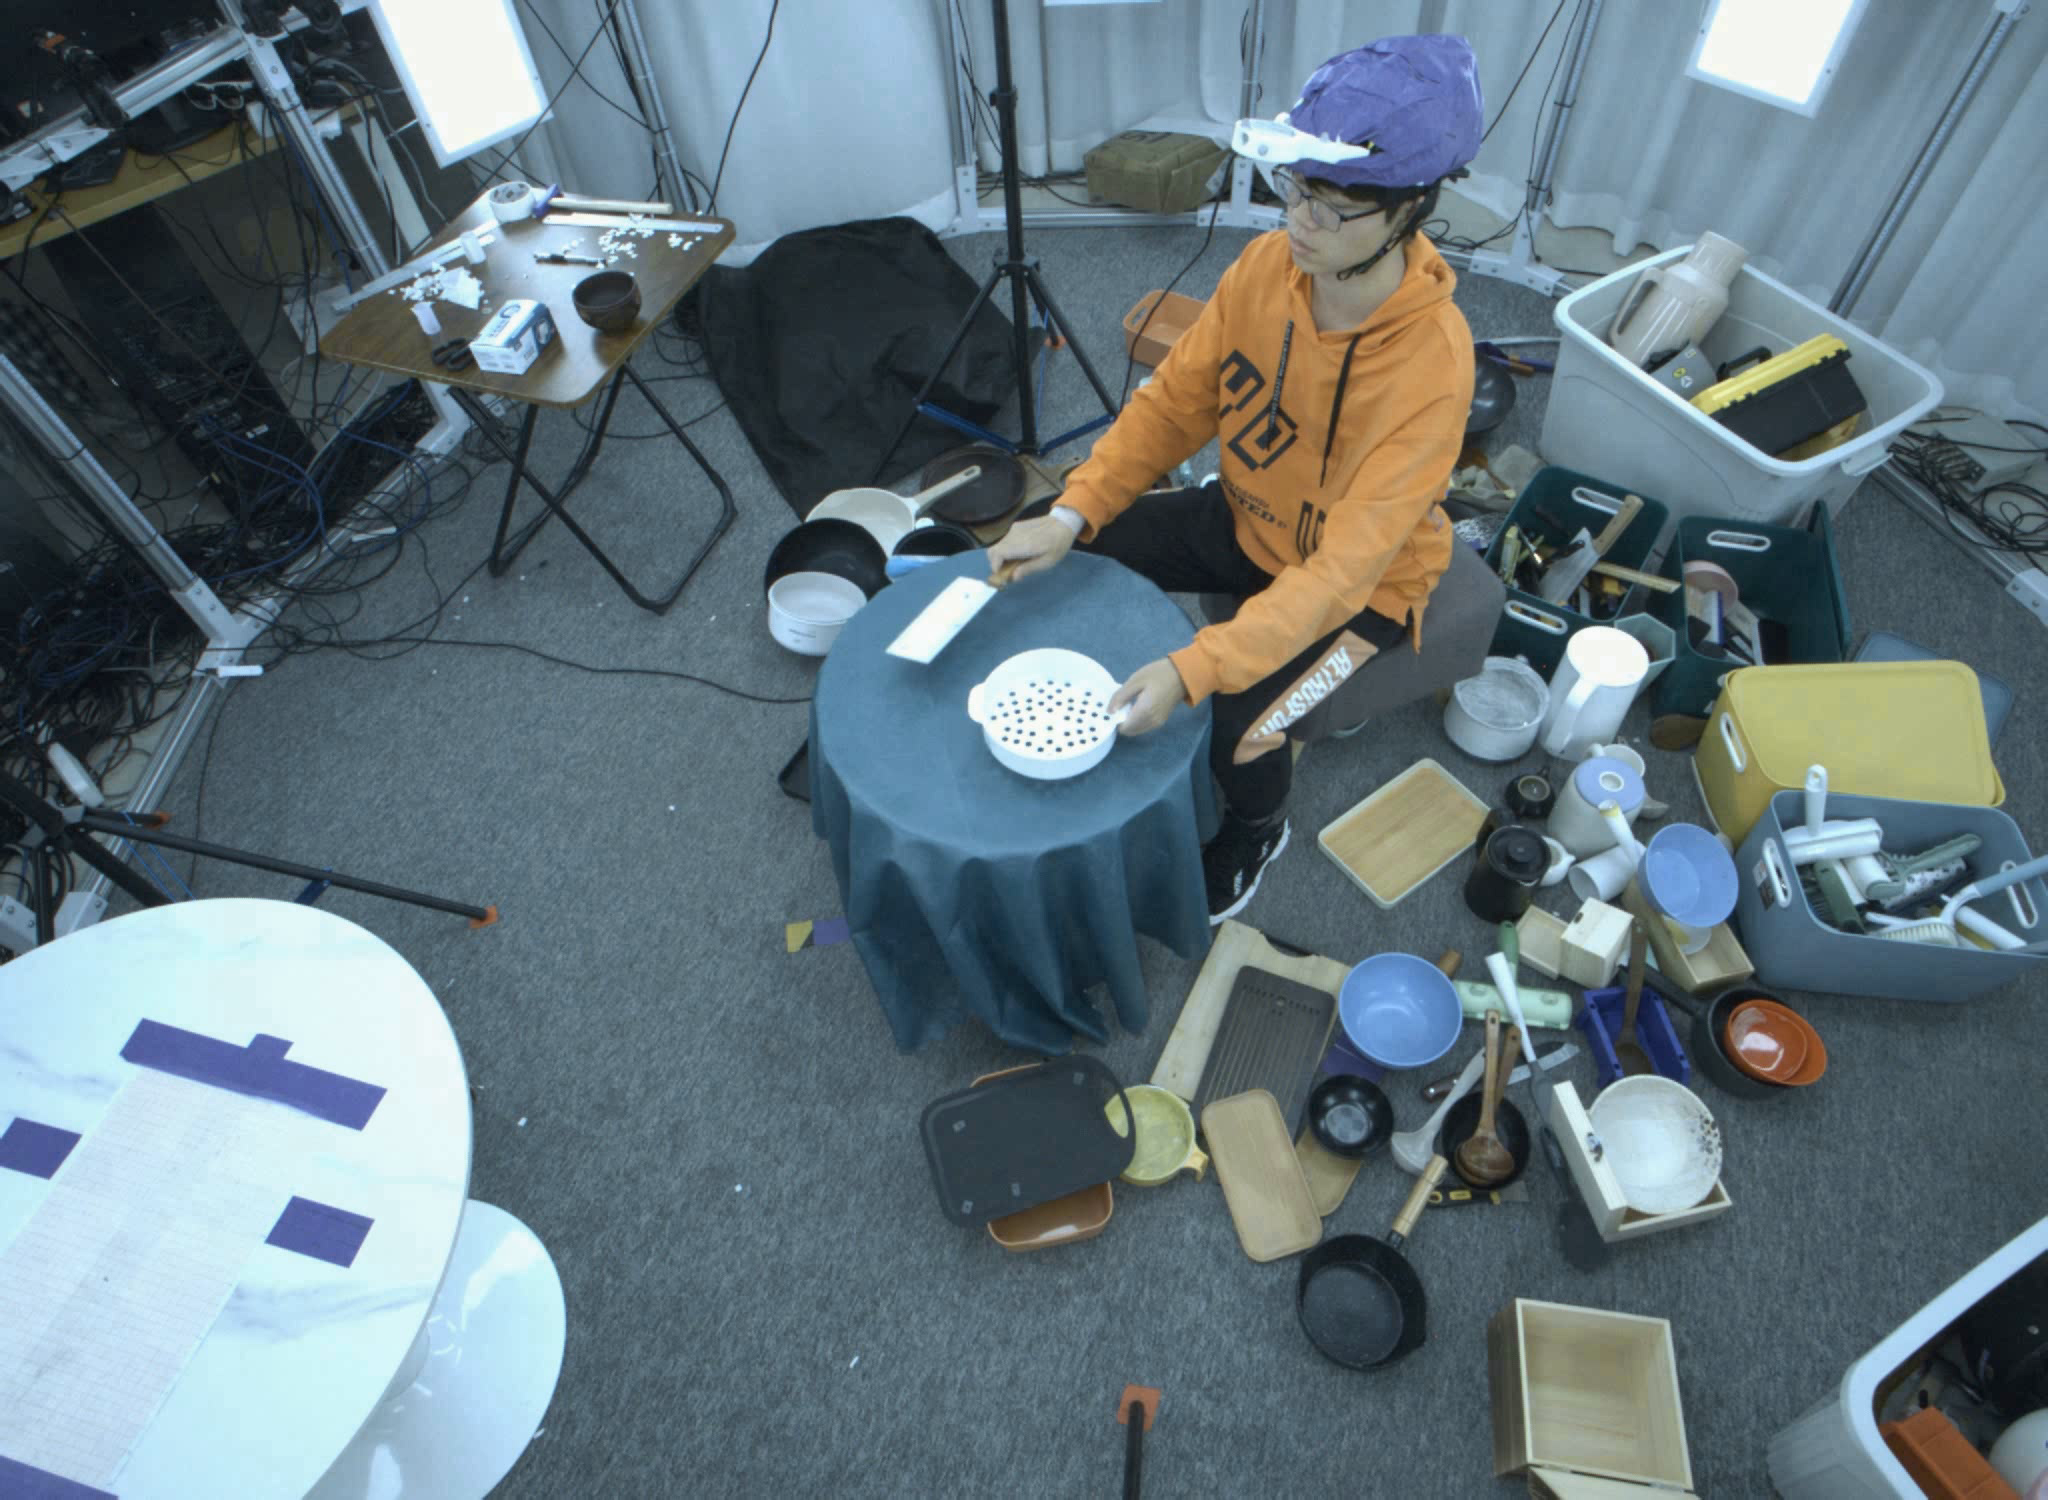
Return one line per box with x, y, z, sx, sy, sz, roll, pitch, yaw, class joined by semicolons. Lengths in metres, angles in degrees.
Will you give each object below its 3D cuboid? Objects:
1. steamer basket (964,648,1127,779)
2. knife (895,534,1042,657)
0.031;-0.050;1.754;0.230;0.070;0.200;-1;53;1;steamer basket
-0.088;-0.241;1.874;0.091;0.021;0.307;17;52;36;knife
